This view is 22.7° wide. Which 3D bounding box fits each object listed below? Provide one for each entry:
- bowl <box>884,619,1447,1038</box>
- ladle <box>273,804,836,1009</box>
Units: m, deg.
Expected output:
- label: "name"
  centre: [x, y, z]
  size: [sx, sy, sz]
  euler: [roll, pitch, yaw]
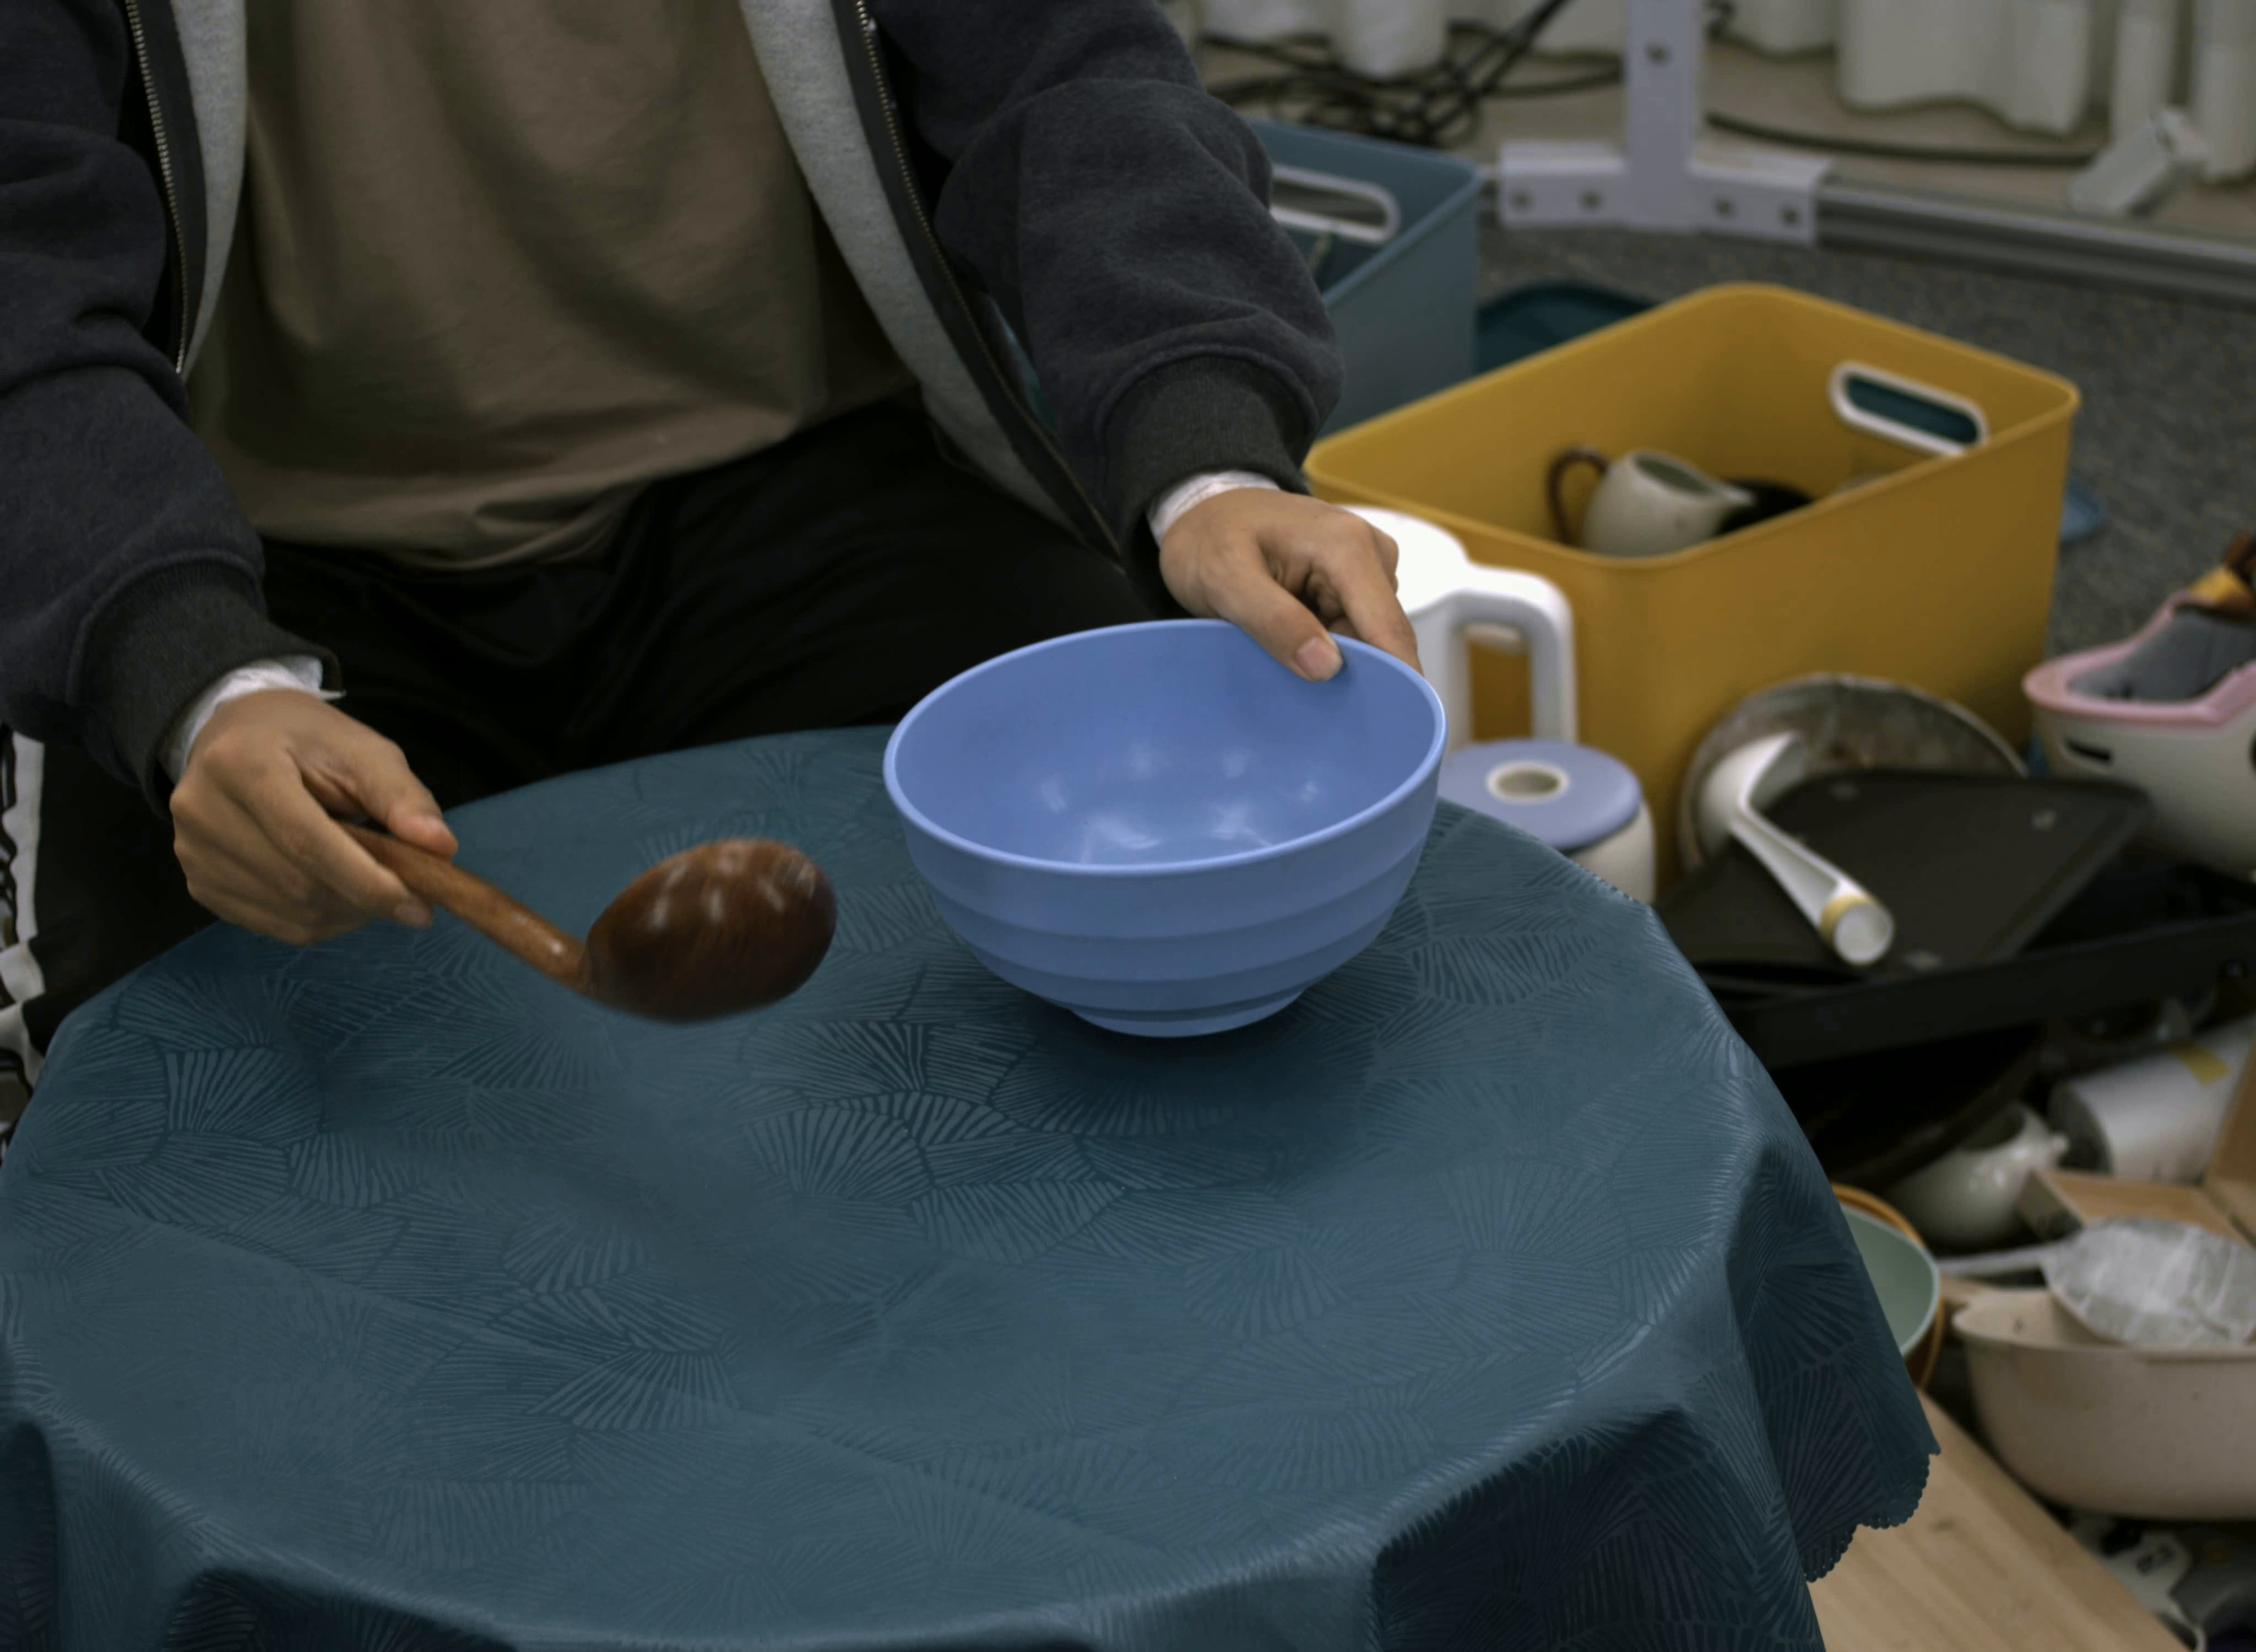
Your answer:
- label: "bowl"
  centre: [0.017, 0.011, 1.959]
  size: [0.195, 0.094, 0.199]
  euler: [-4, 26, 2]
- label: "ladle"
  centre: [-0.199, 0.002, 1.873]
  size: [0.082, 0.077, 0.273]
  euler: [23, -1, -42]
